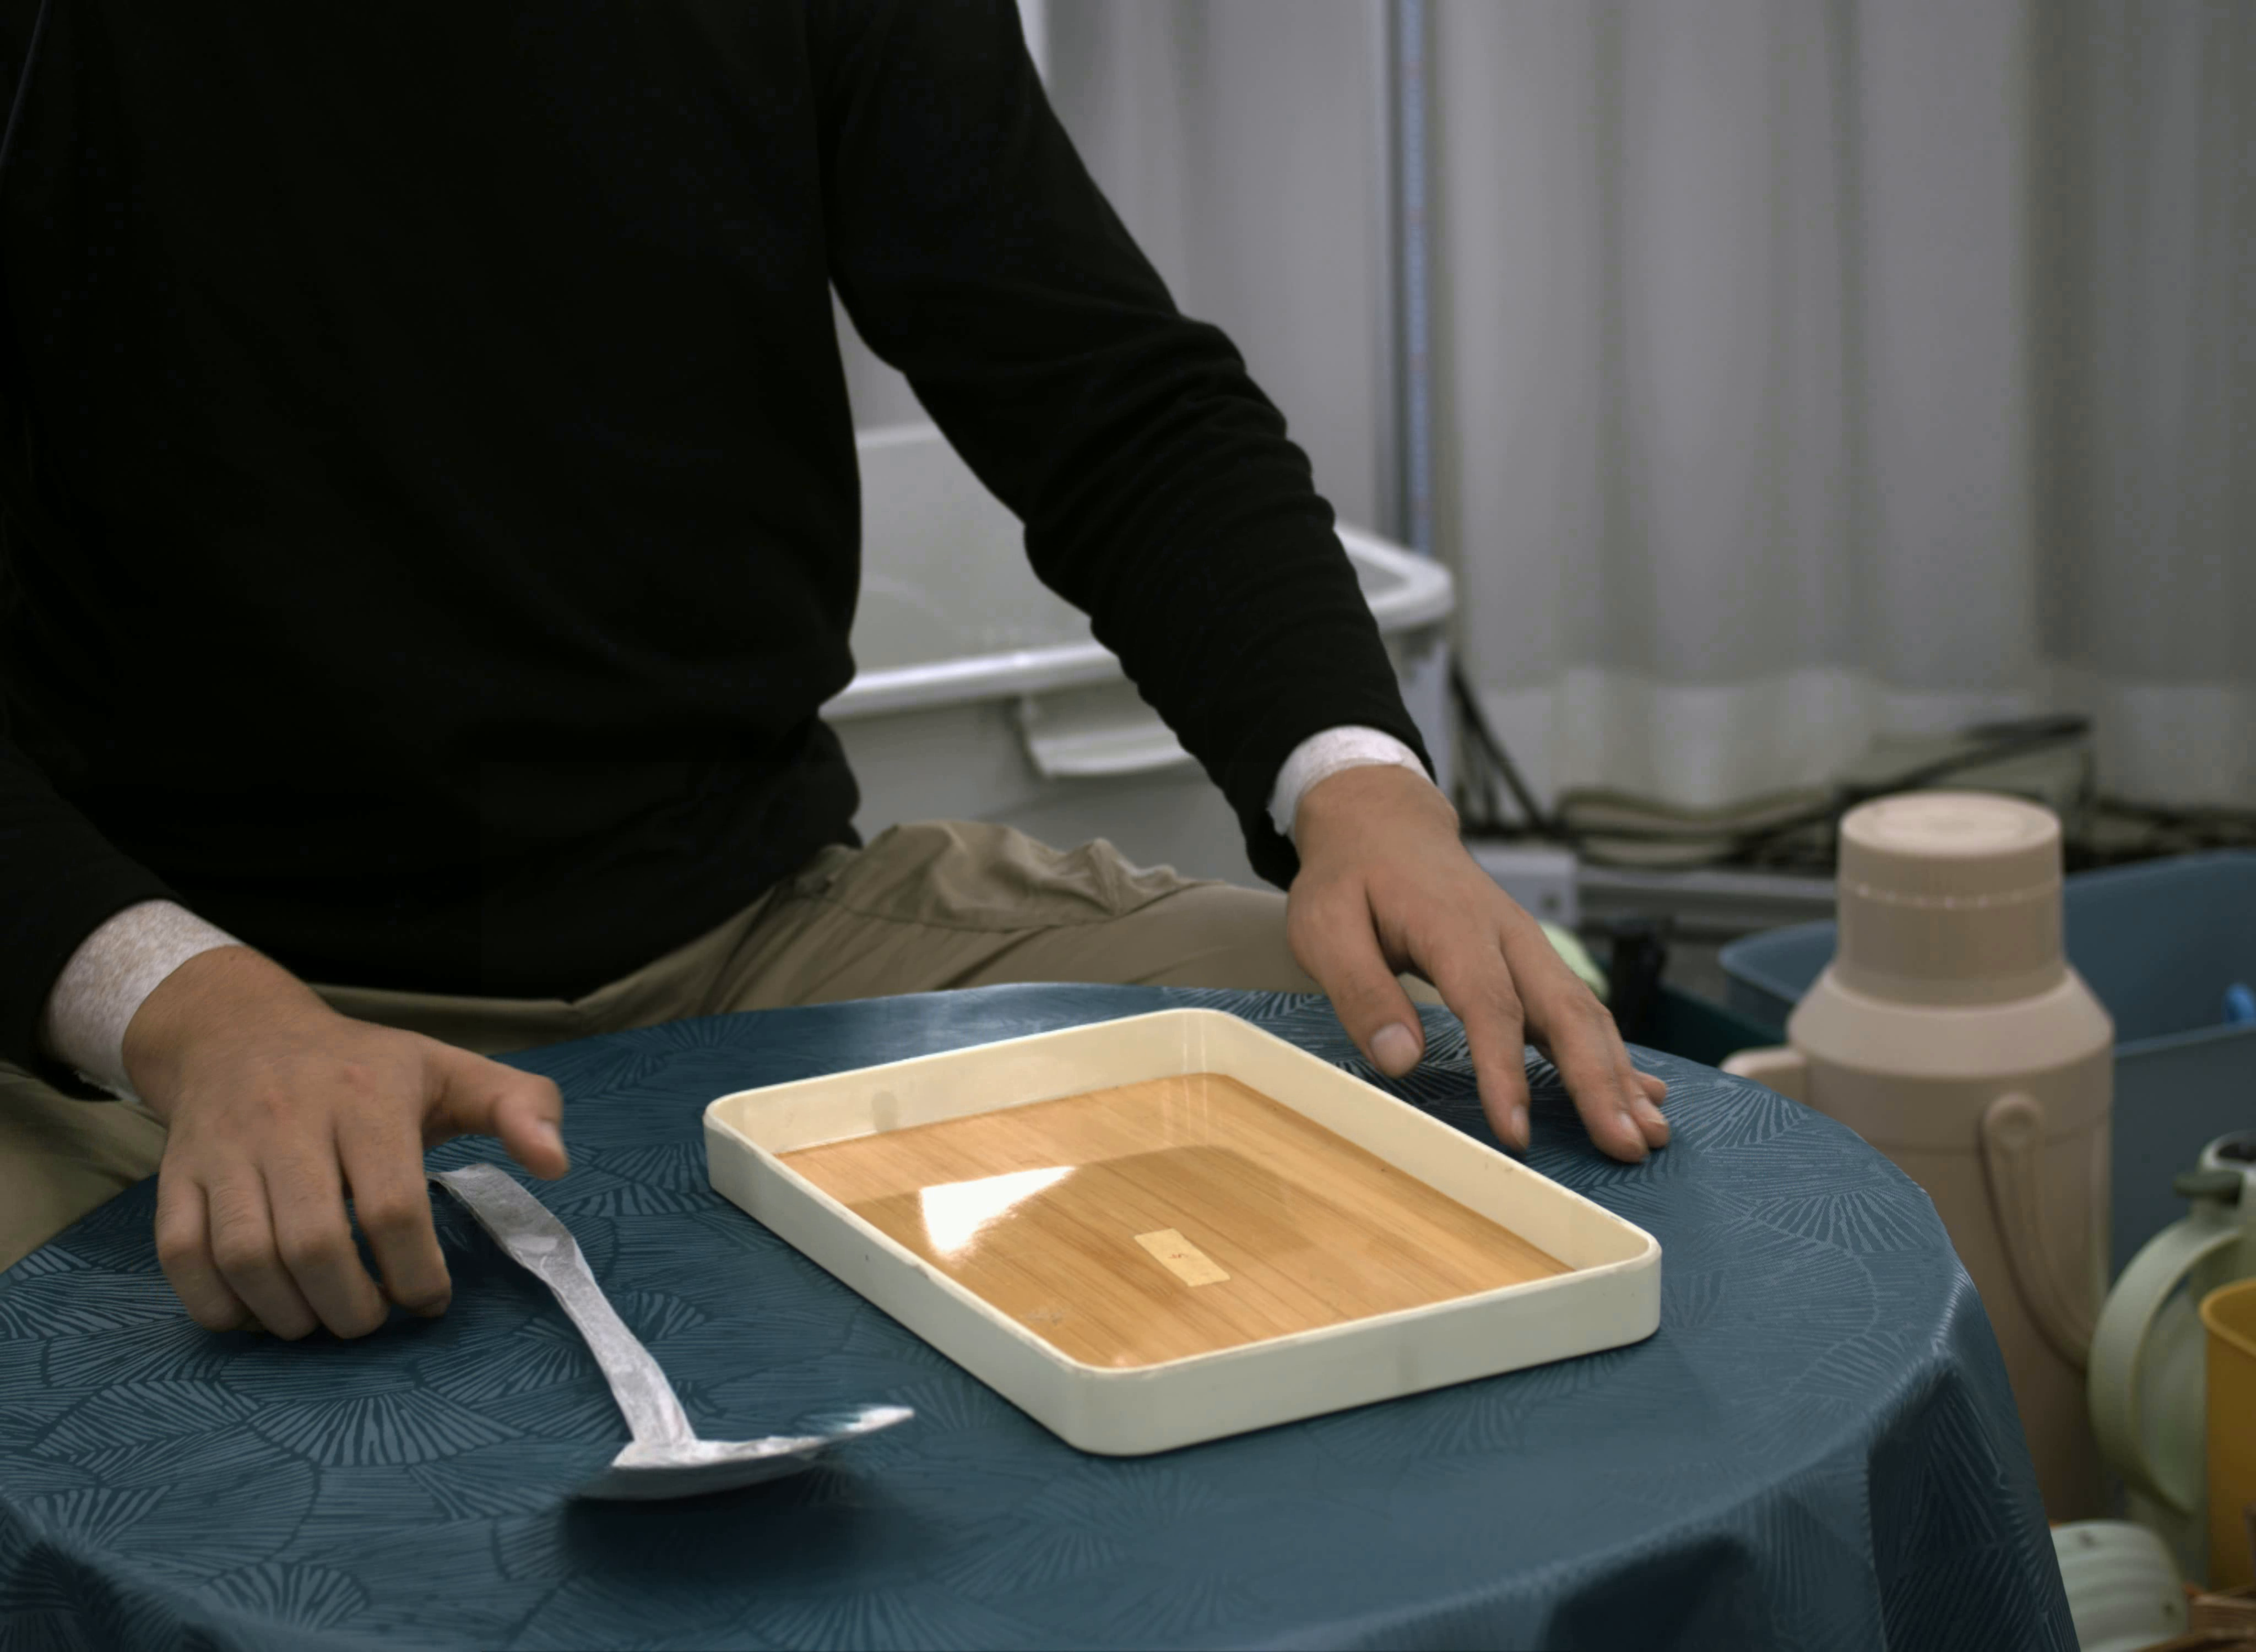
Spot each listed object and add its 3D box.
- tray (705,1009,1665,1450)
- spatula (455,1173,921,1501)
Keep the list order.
[{"bbox_3d":[0.010,0.117,1.651,0.191,0.027,0.302,-10,16,-24],"label":"tray"},{"bbox_3d":[-0.152,0.138,1.581,0.098,0.044,0.368,-8,16,-18],"label":"spatula"}]
